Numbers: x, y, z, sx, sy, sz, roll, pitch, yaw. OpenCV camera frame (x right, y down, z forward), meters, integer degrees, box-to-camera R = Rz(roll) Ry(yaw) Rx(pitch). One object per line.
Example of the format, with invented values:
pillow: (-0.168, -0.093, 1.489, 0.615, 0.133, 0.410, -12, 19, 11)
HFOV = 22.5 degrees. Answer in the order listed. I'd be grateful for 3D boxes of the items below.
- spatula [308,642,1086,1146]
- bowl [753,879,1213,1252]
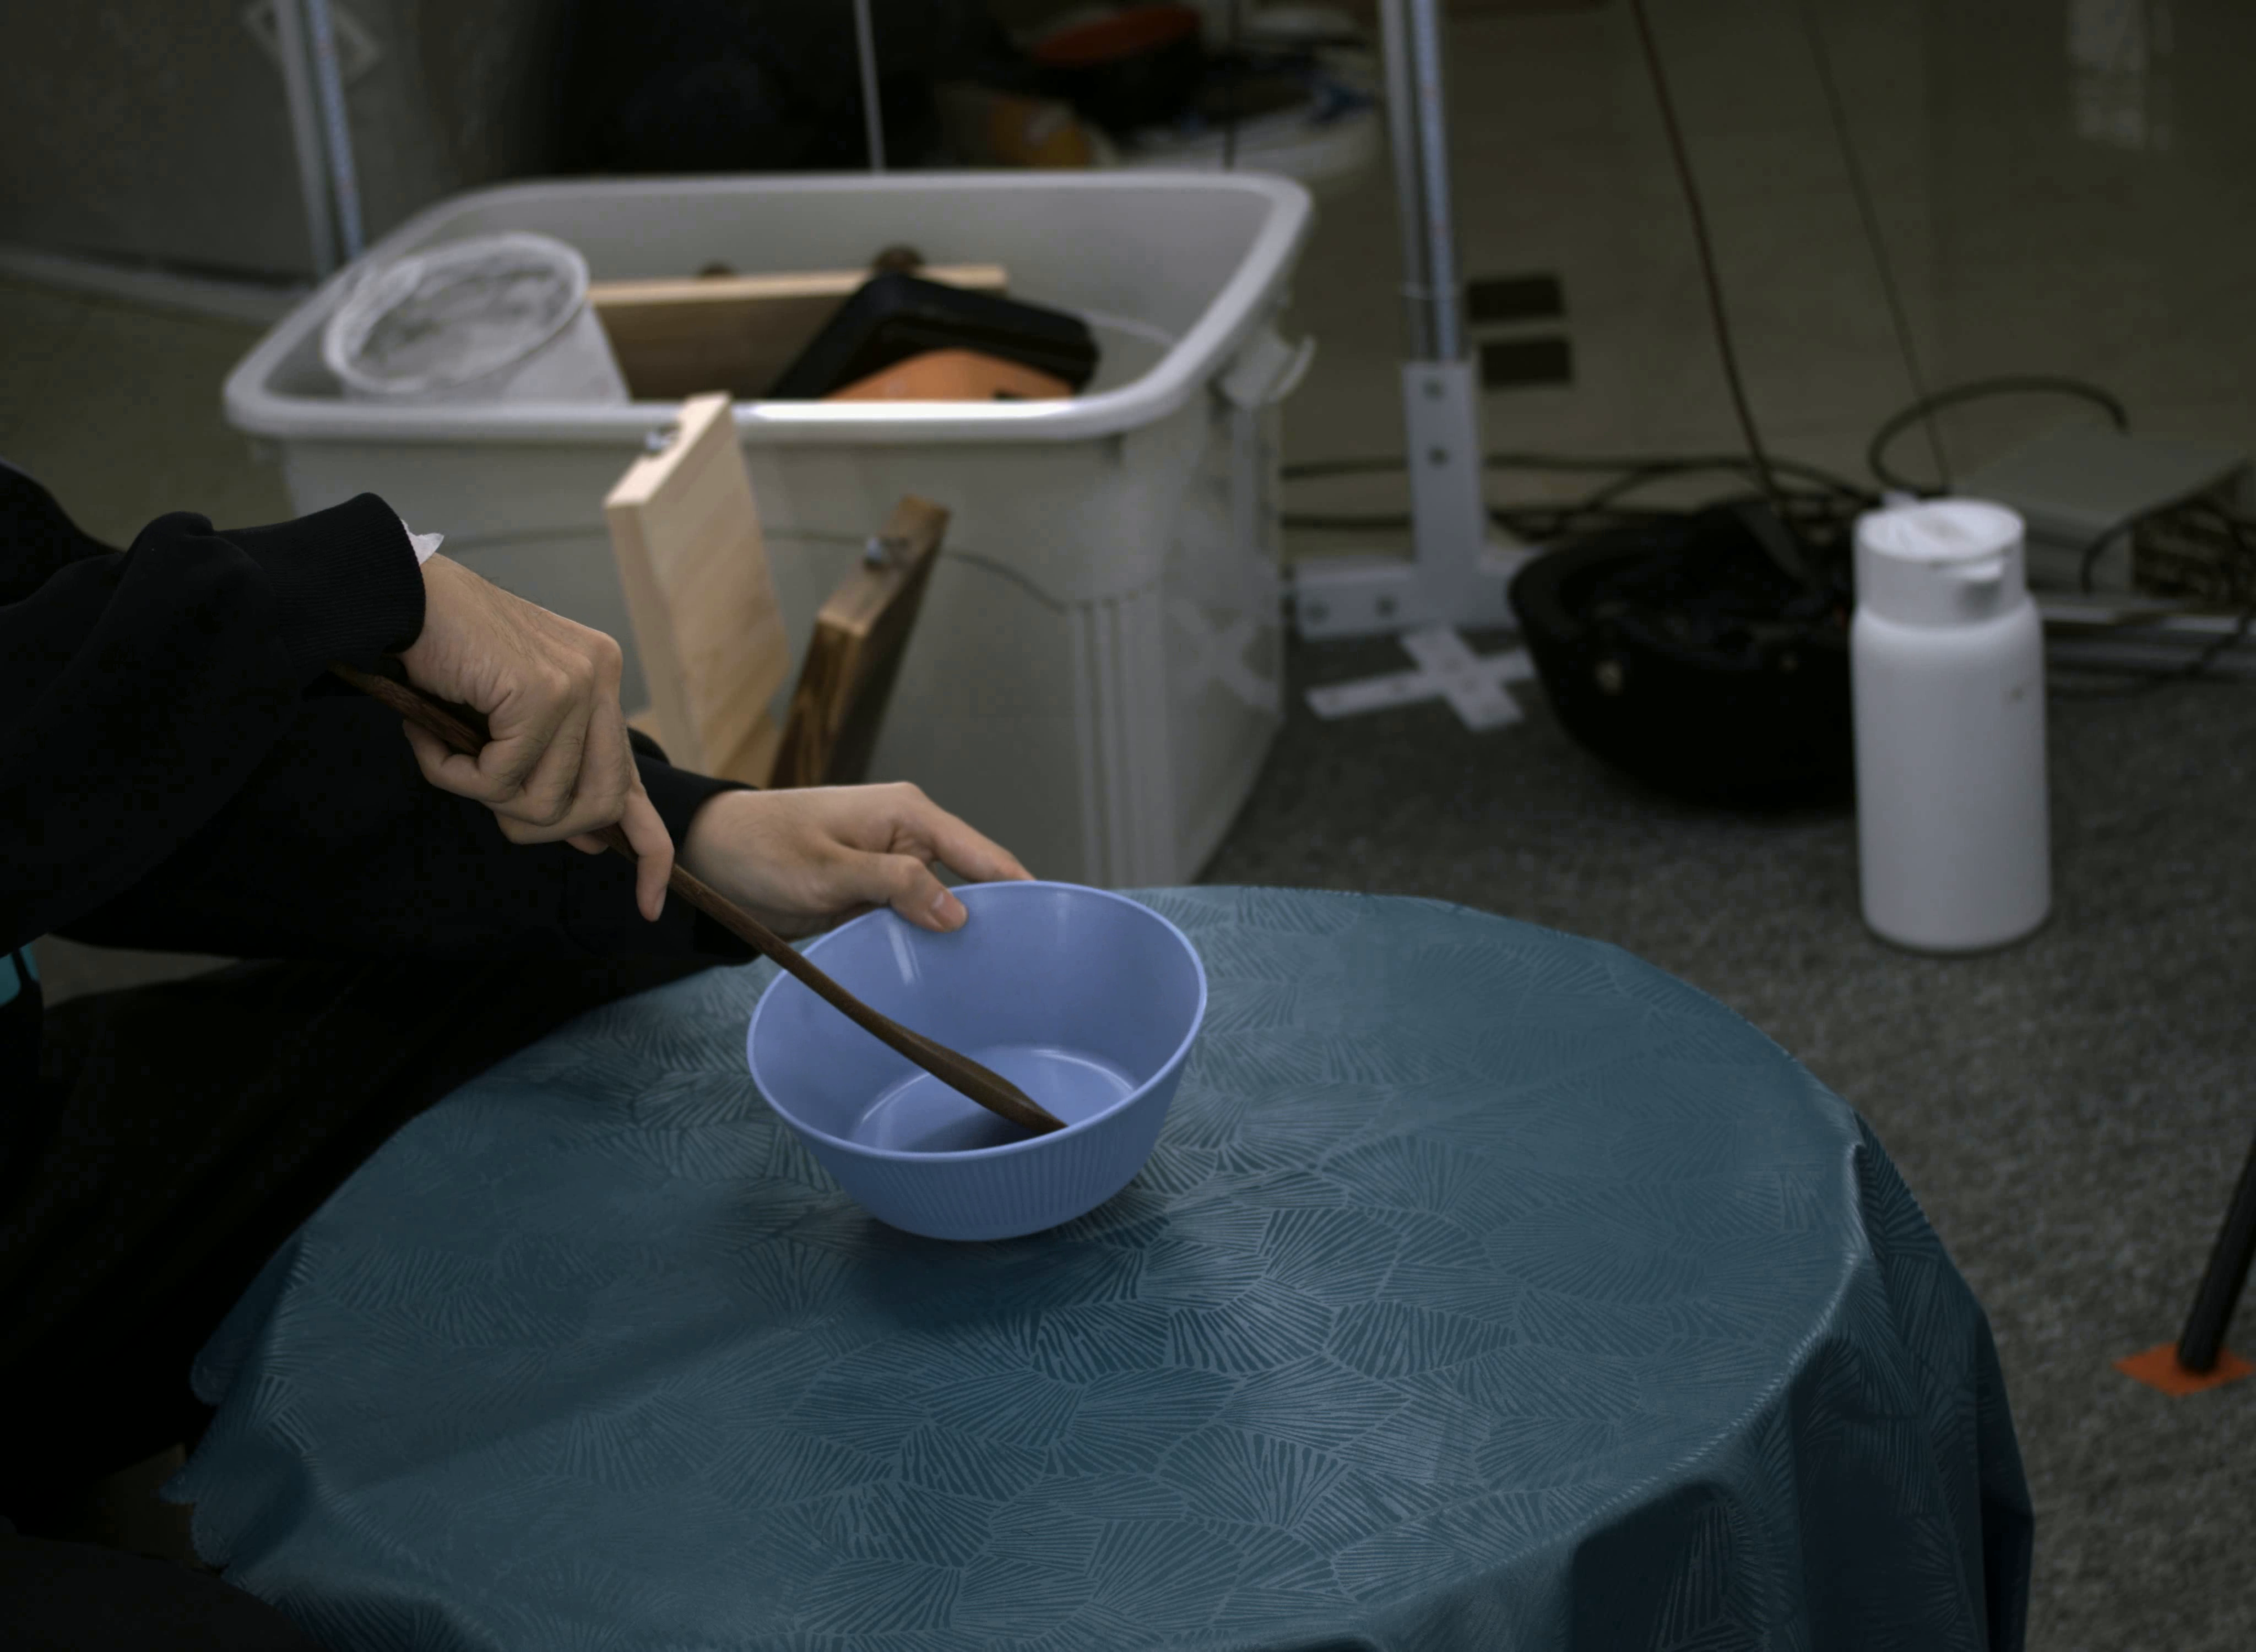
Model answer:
spatula: (-0.147, 0.029, 2.034, 0.016, 0.390, 0.095, -56, 36, -4)
bowl: (-0.051, 0.100, 2.150, 0.176, 0.071, 0.173, -6, 38, 5)
